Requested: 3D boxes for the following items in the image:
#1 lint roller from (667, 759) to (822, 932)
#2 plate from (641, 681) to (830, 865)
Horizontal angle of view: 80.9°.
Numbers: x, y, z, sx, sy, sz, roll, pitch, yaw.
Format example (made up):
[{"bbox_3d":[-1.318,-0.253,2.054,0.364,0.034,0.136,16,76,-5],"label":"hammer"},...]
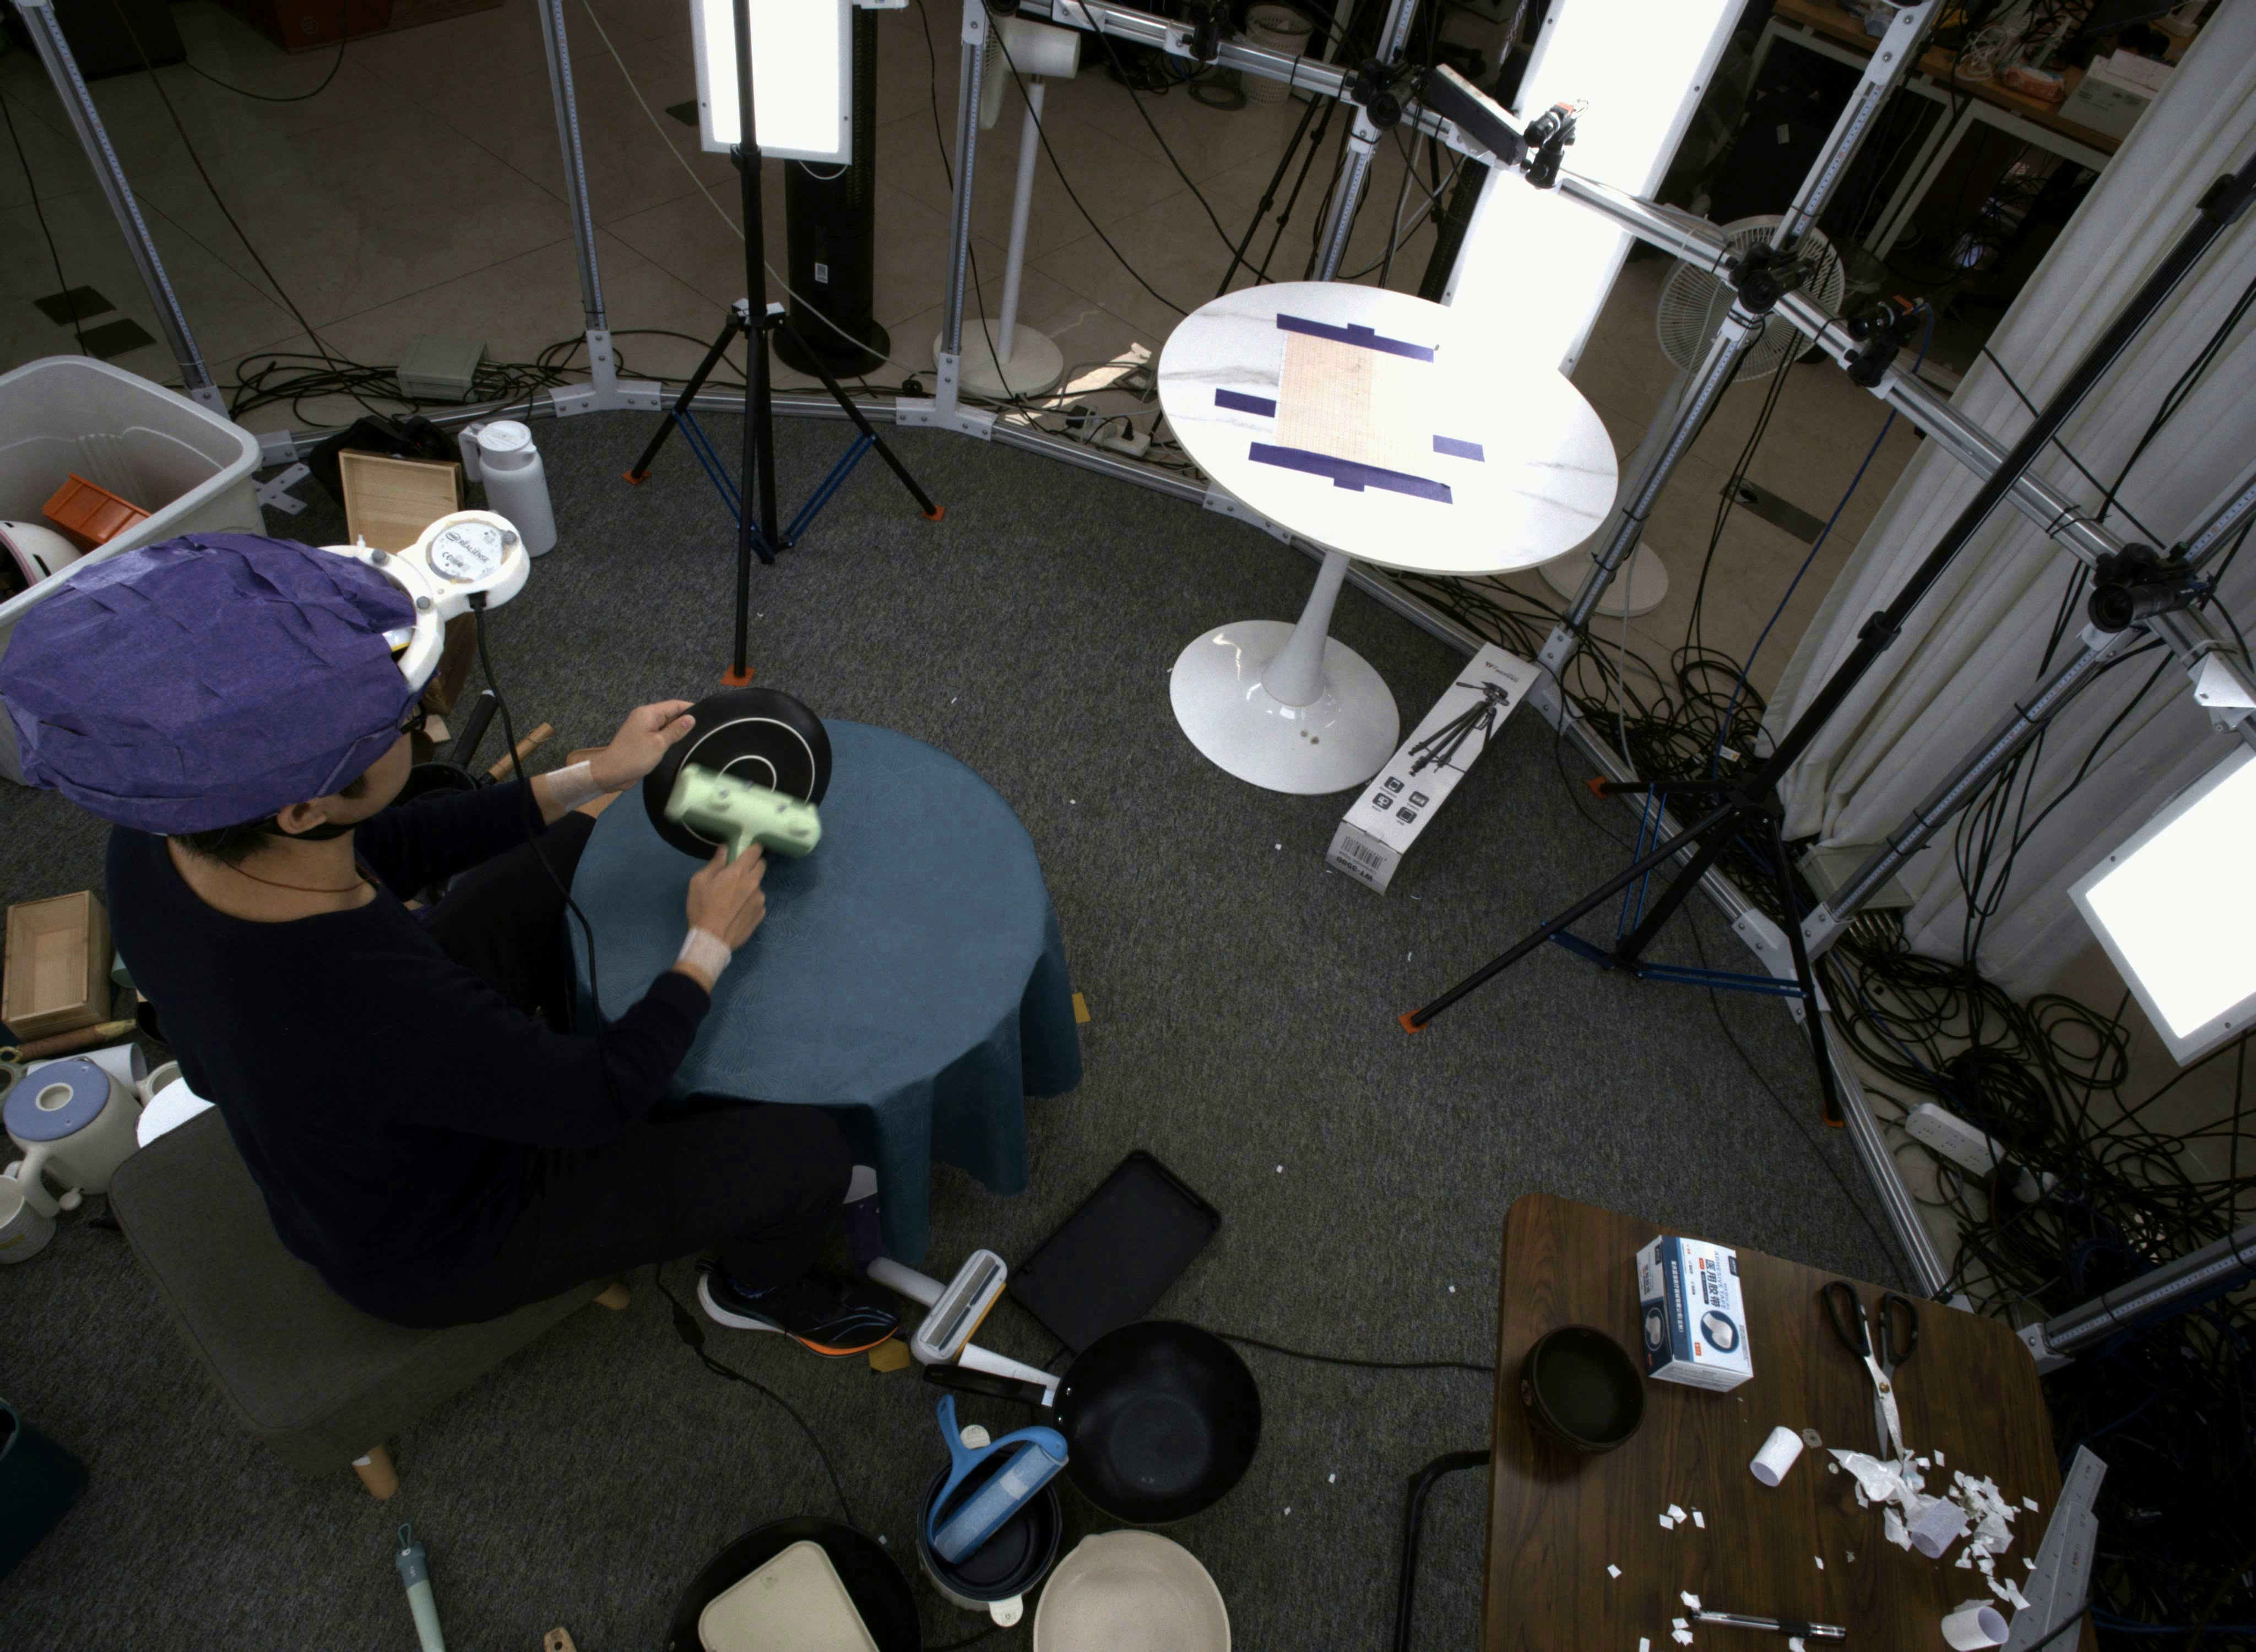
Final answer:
[{"bbox_3d":[-0.458,0.030,1.554,0.204,0.080,0.182,21,61,-48],"label":"lint roller"},{"bbox_3d":[-0.477,-0.059,1.591,0.245,0.252,0.022,-22,40,-28],"label":"plate"}]
